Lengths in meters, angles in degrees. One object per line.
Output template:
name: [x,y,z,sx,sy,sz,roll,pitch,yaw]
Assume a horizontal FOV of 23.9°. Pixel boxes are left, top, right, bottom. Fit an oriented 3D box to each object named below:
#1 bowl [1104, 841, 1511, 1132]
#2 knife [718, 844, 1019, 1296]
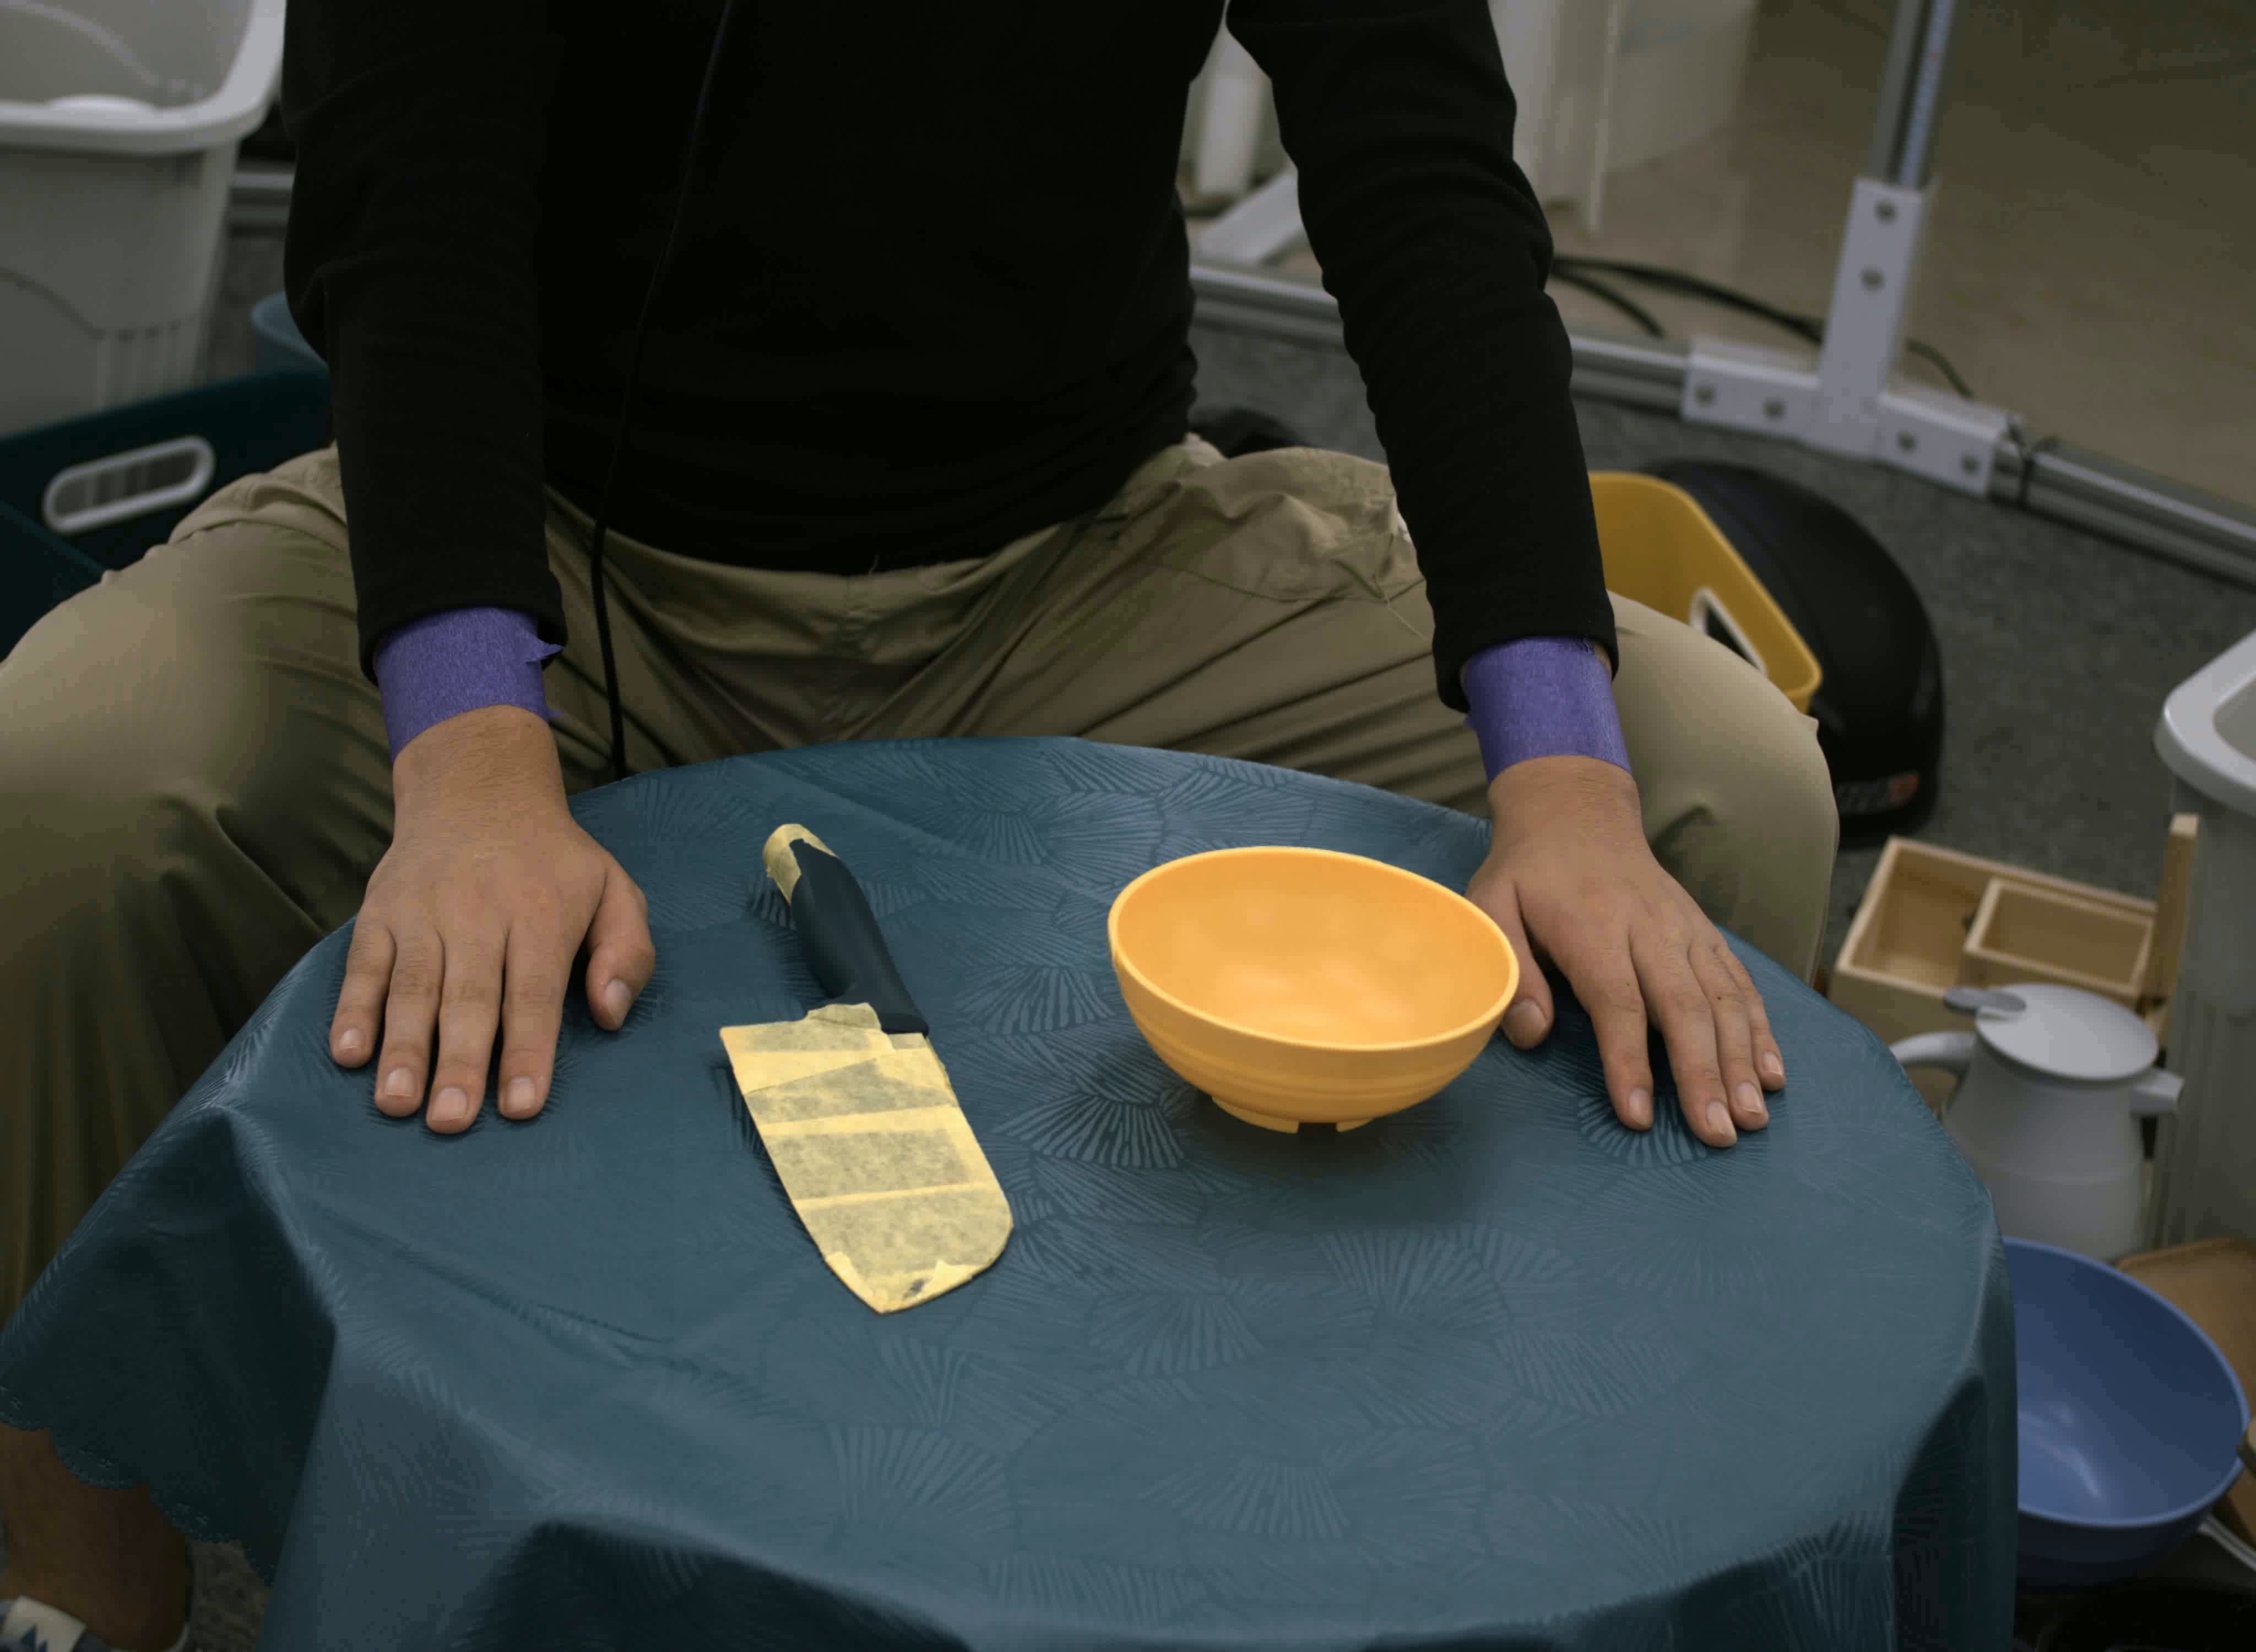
bowl: [0.059,0.065,1.868,0.145,0.060,0.146,7,27,-4]
knife: [-0.100,0.083,1.848,0.080,0.027,0.292,0,29,-16]
